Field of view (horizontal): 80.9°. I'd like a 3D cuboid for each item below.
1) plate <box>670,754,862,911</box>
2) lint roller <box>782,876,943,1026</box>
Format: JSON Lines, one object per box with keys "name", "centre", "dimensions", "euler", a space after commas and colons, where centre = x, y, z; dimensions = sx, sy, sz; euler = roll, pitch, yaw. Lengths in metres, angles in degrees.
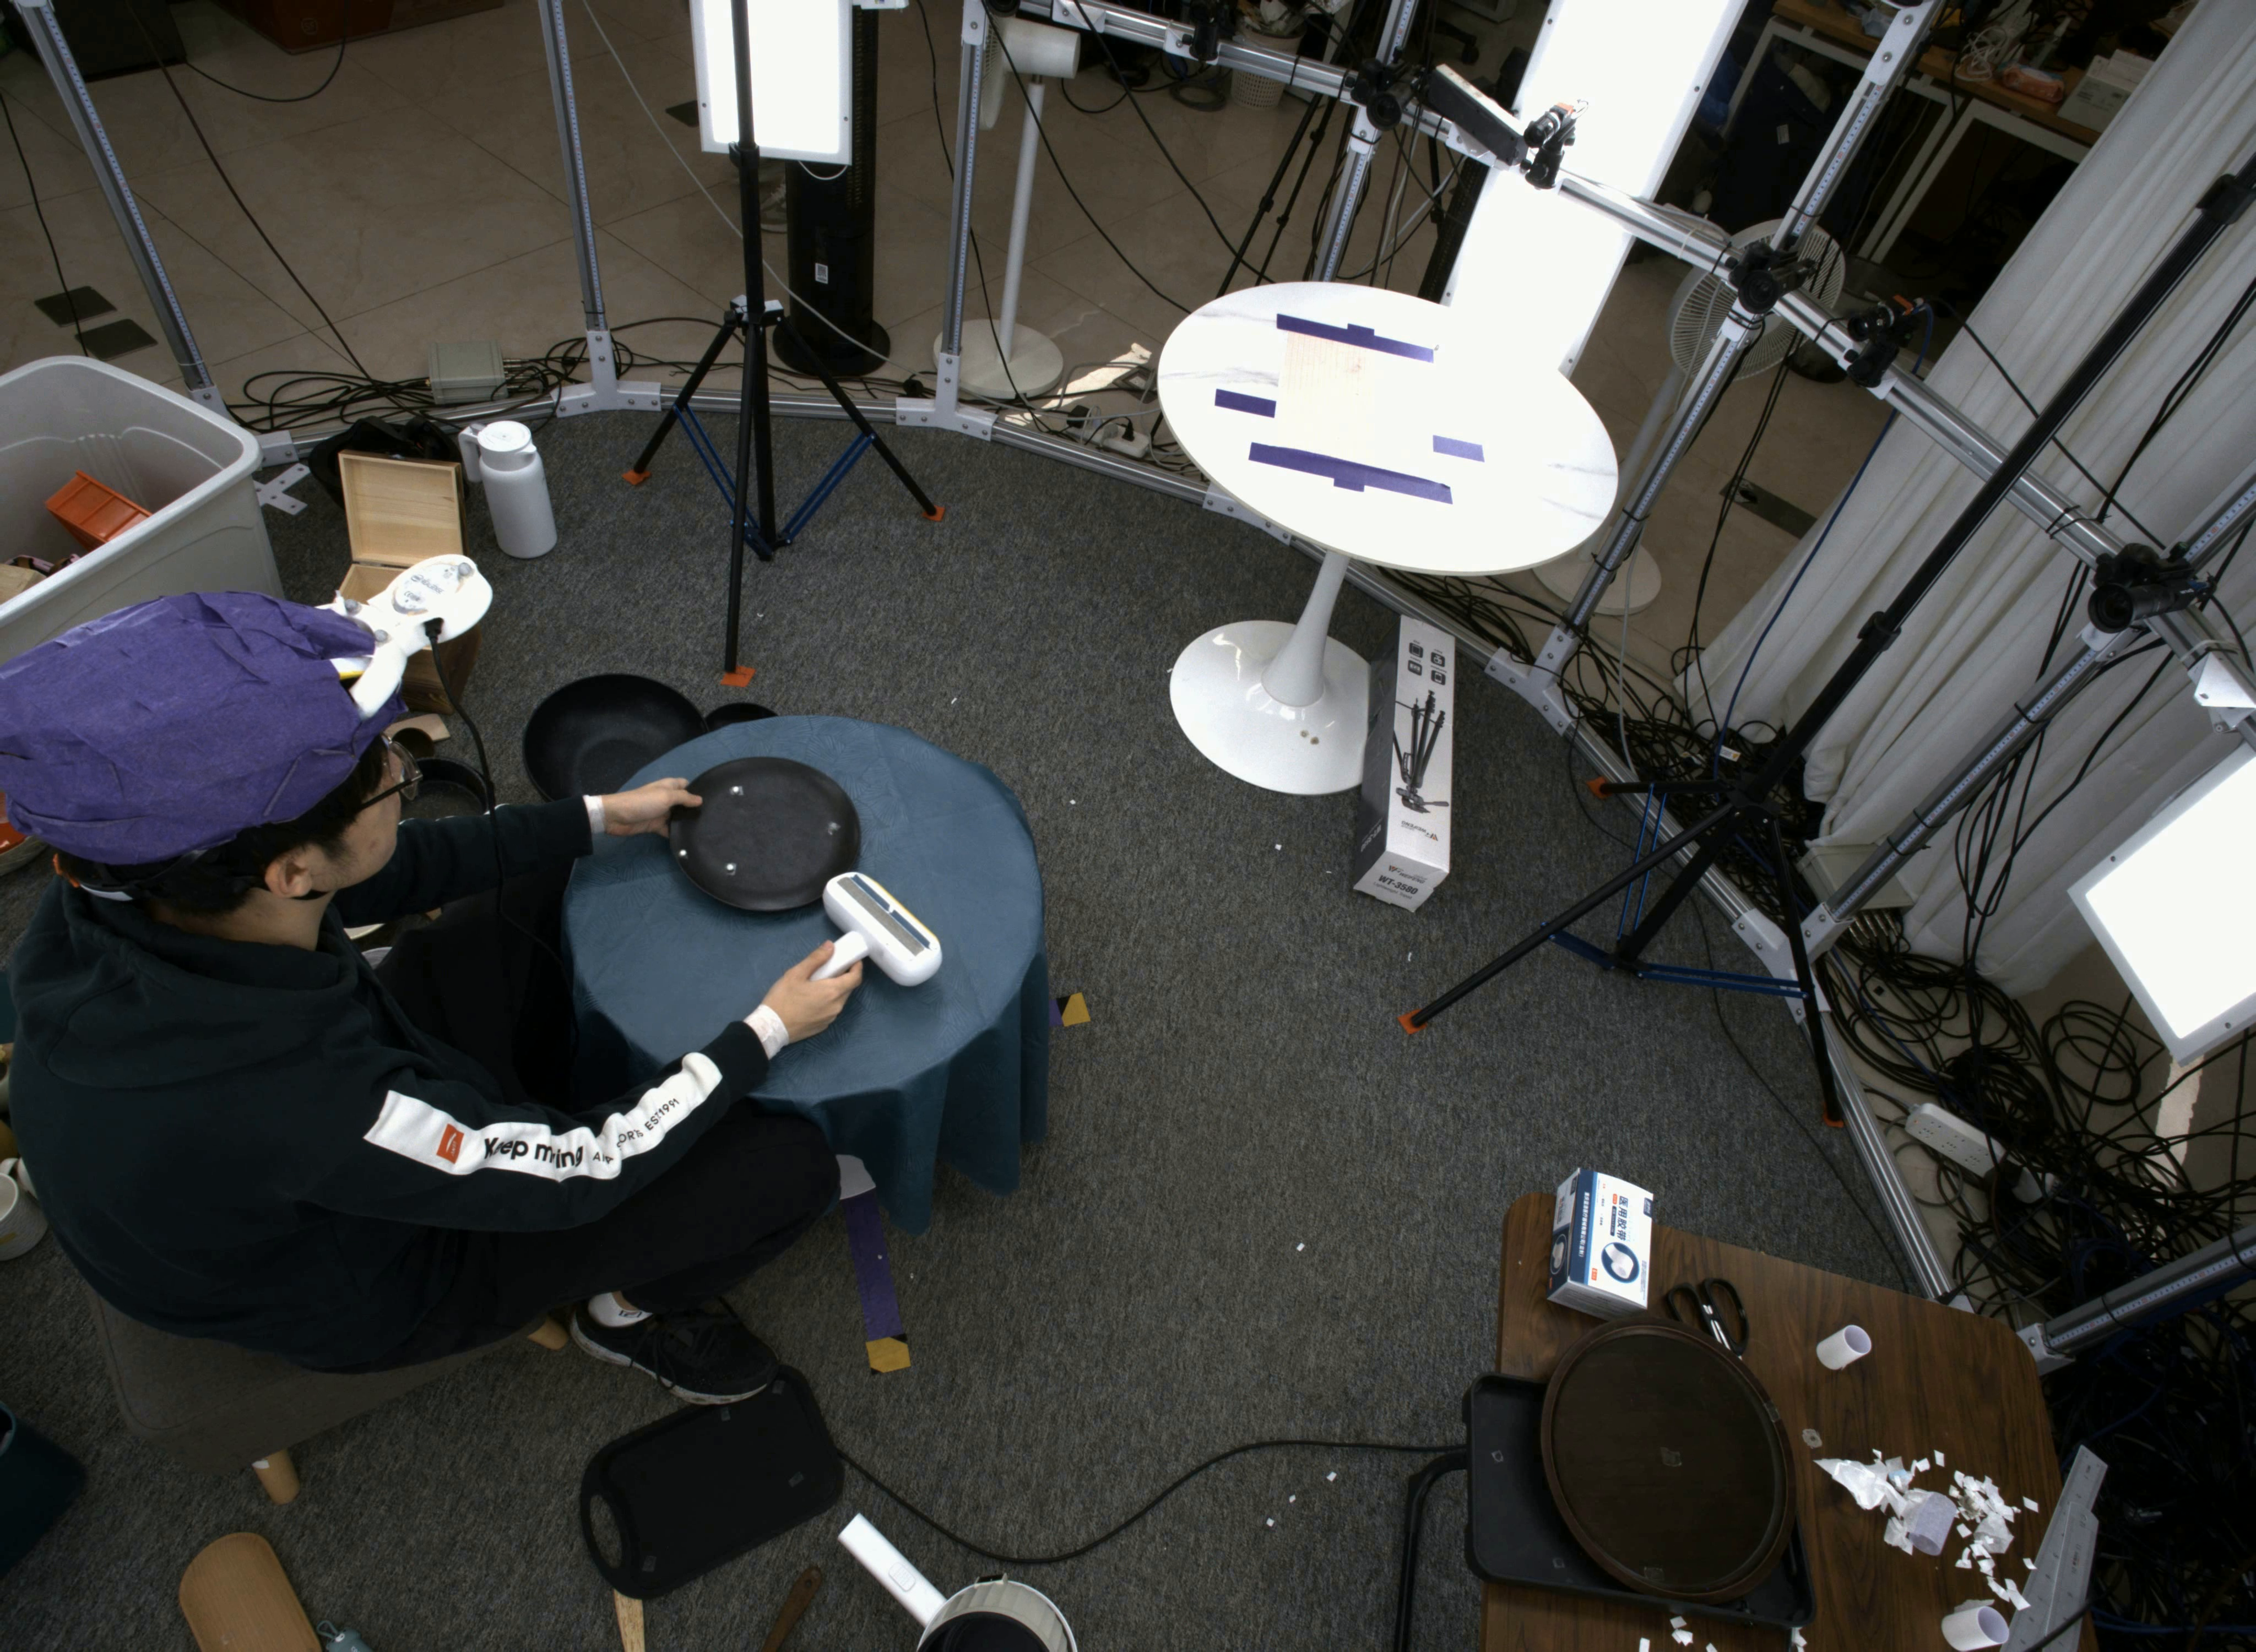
{"name": "plate", "centre": [-0.471, 0.009, 1.687], "dimensions": [0.245, 0.024, 0.240], "euler": [11, 54, -13]}
{"name": "lint roller", "centre": [-0.347, 0.168, 1.603], "dimensions": [0.192, 0.076, 0.187], "euler": [-34, 58, -19]}
